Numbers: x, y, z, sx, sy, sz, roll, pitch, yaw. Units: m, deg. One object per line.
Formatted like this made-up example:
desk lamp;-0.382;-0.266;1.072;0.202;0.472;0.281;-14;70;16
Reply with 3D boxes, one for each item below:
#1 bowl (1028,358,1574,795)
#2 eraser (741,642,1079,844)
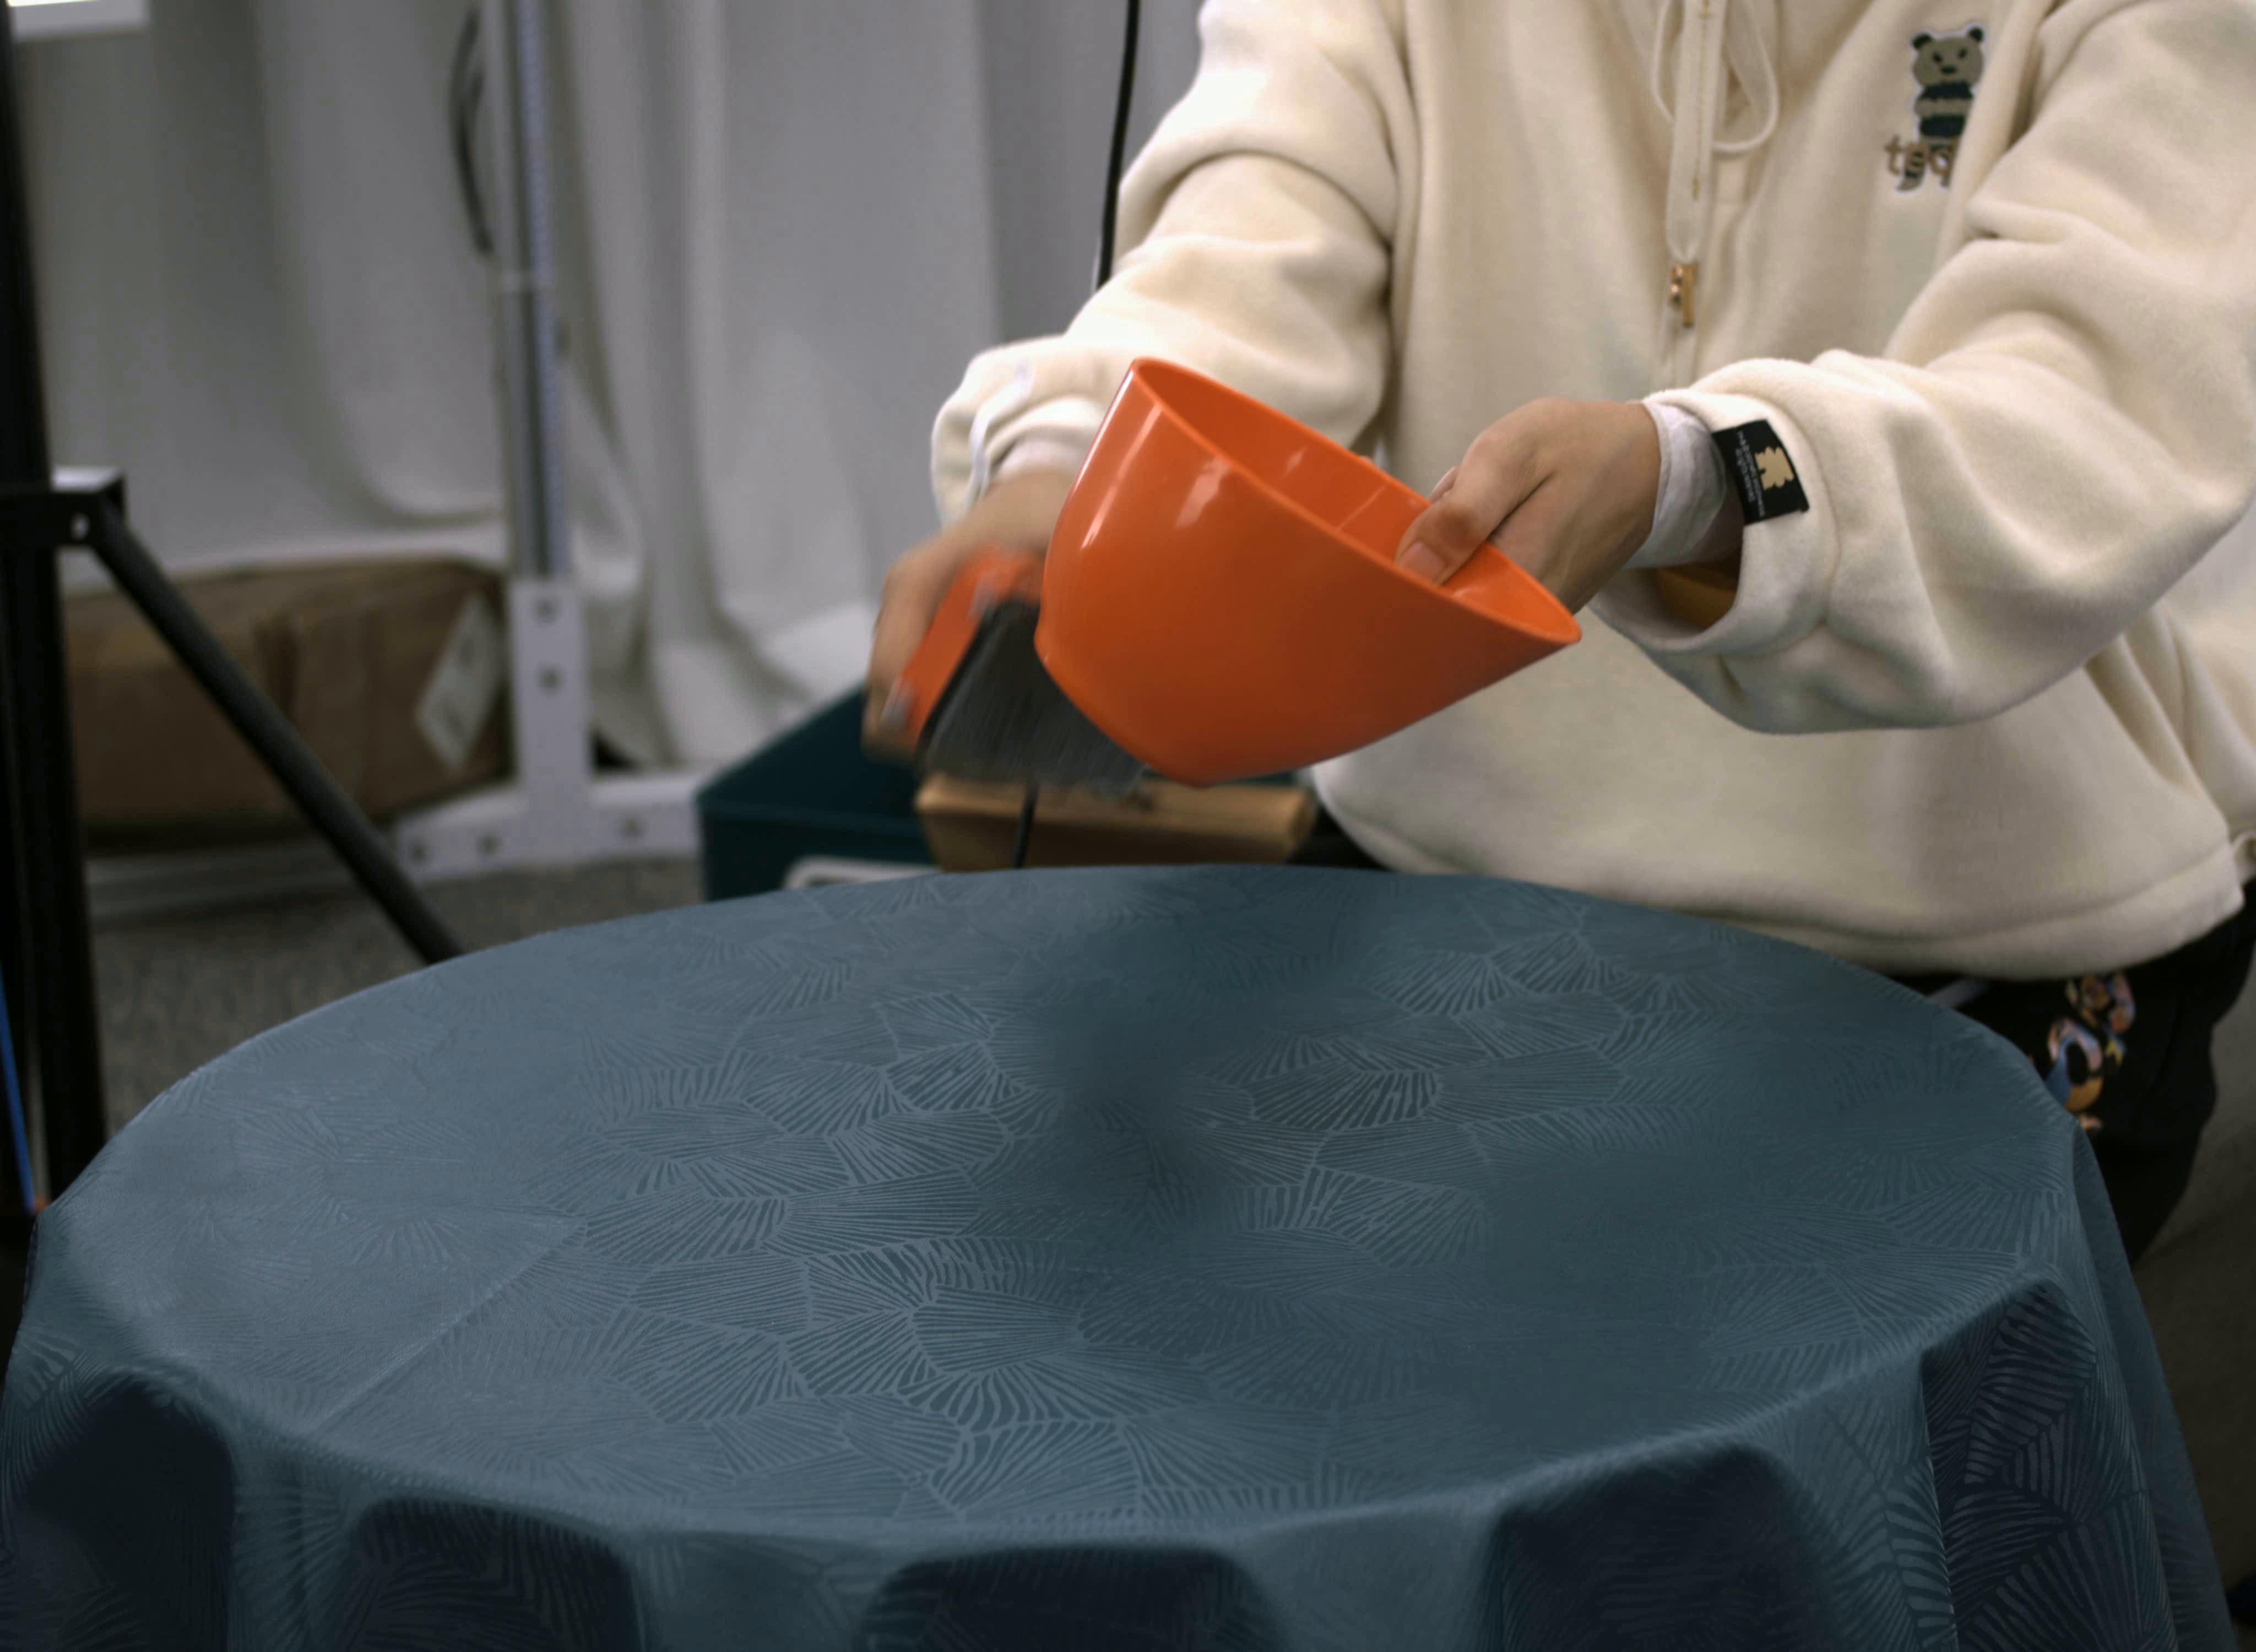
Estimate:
bowl;0.037;-0.060;1.498;0.146;0.105;0.149;36;17;-15
eraser;-0.065;-0.024;1.609;0.105;0.059;0.023;4;34;-51
